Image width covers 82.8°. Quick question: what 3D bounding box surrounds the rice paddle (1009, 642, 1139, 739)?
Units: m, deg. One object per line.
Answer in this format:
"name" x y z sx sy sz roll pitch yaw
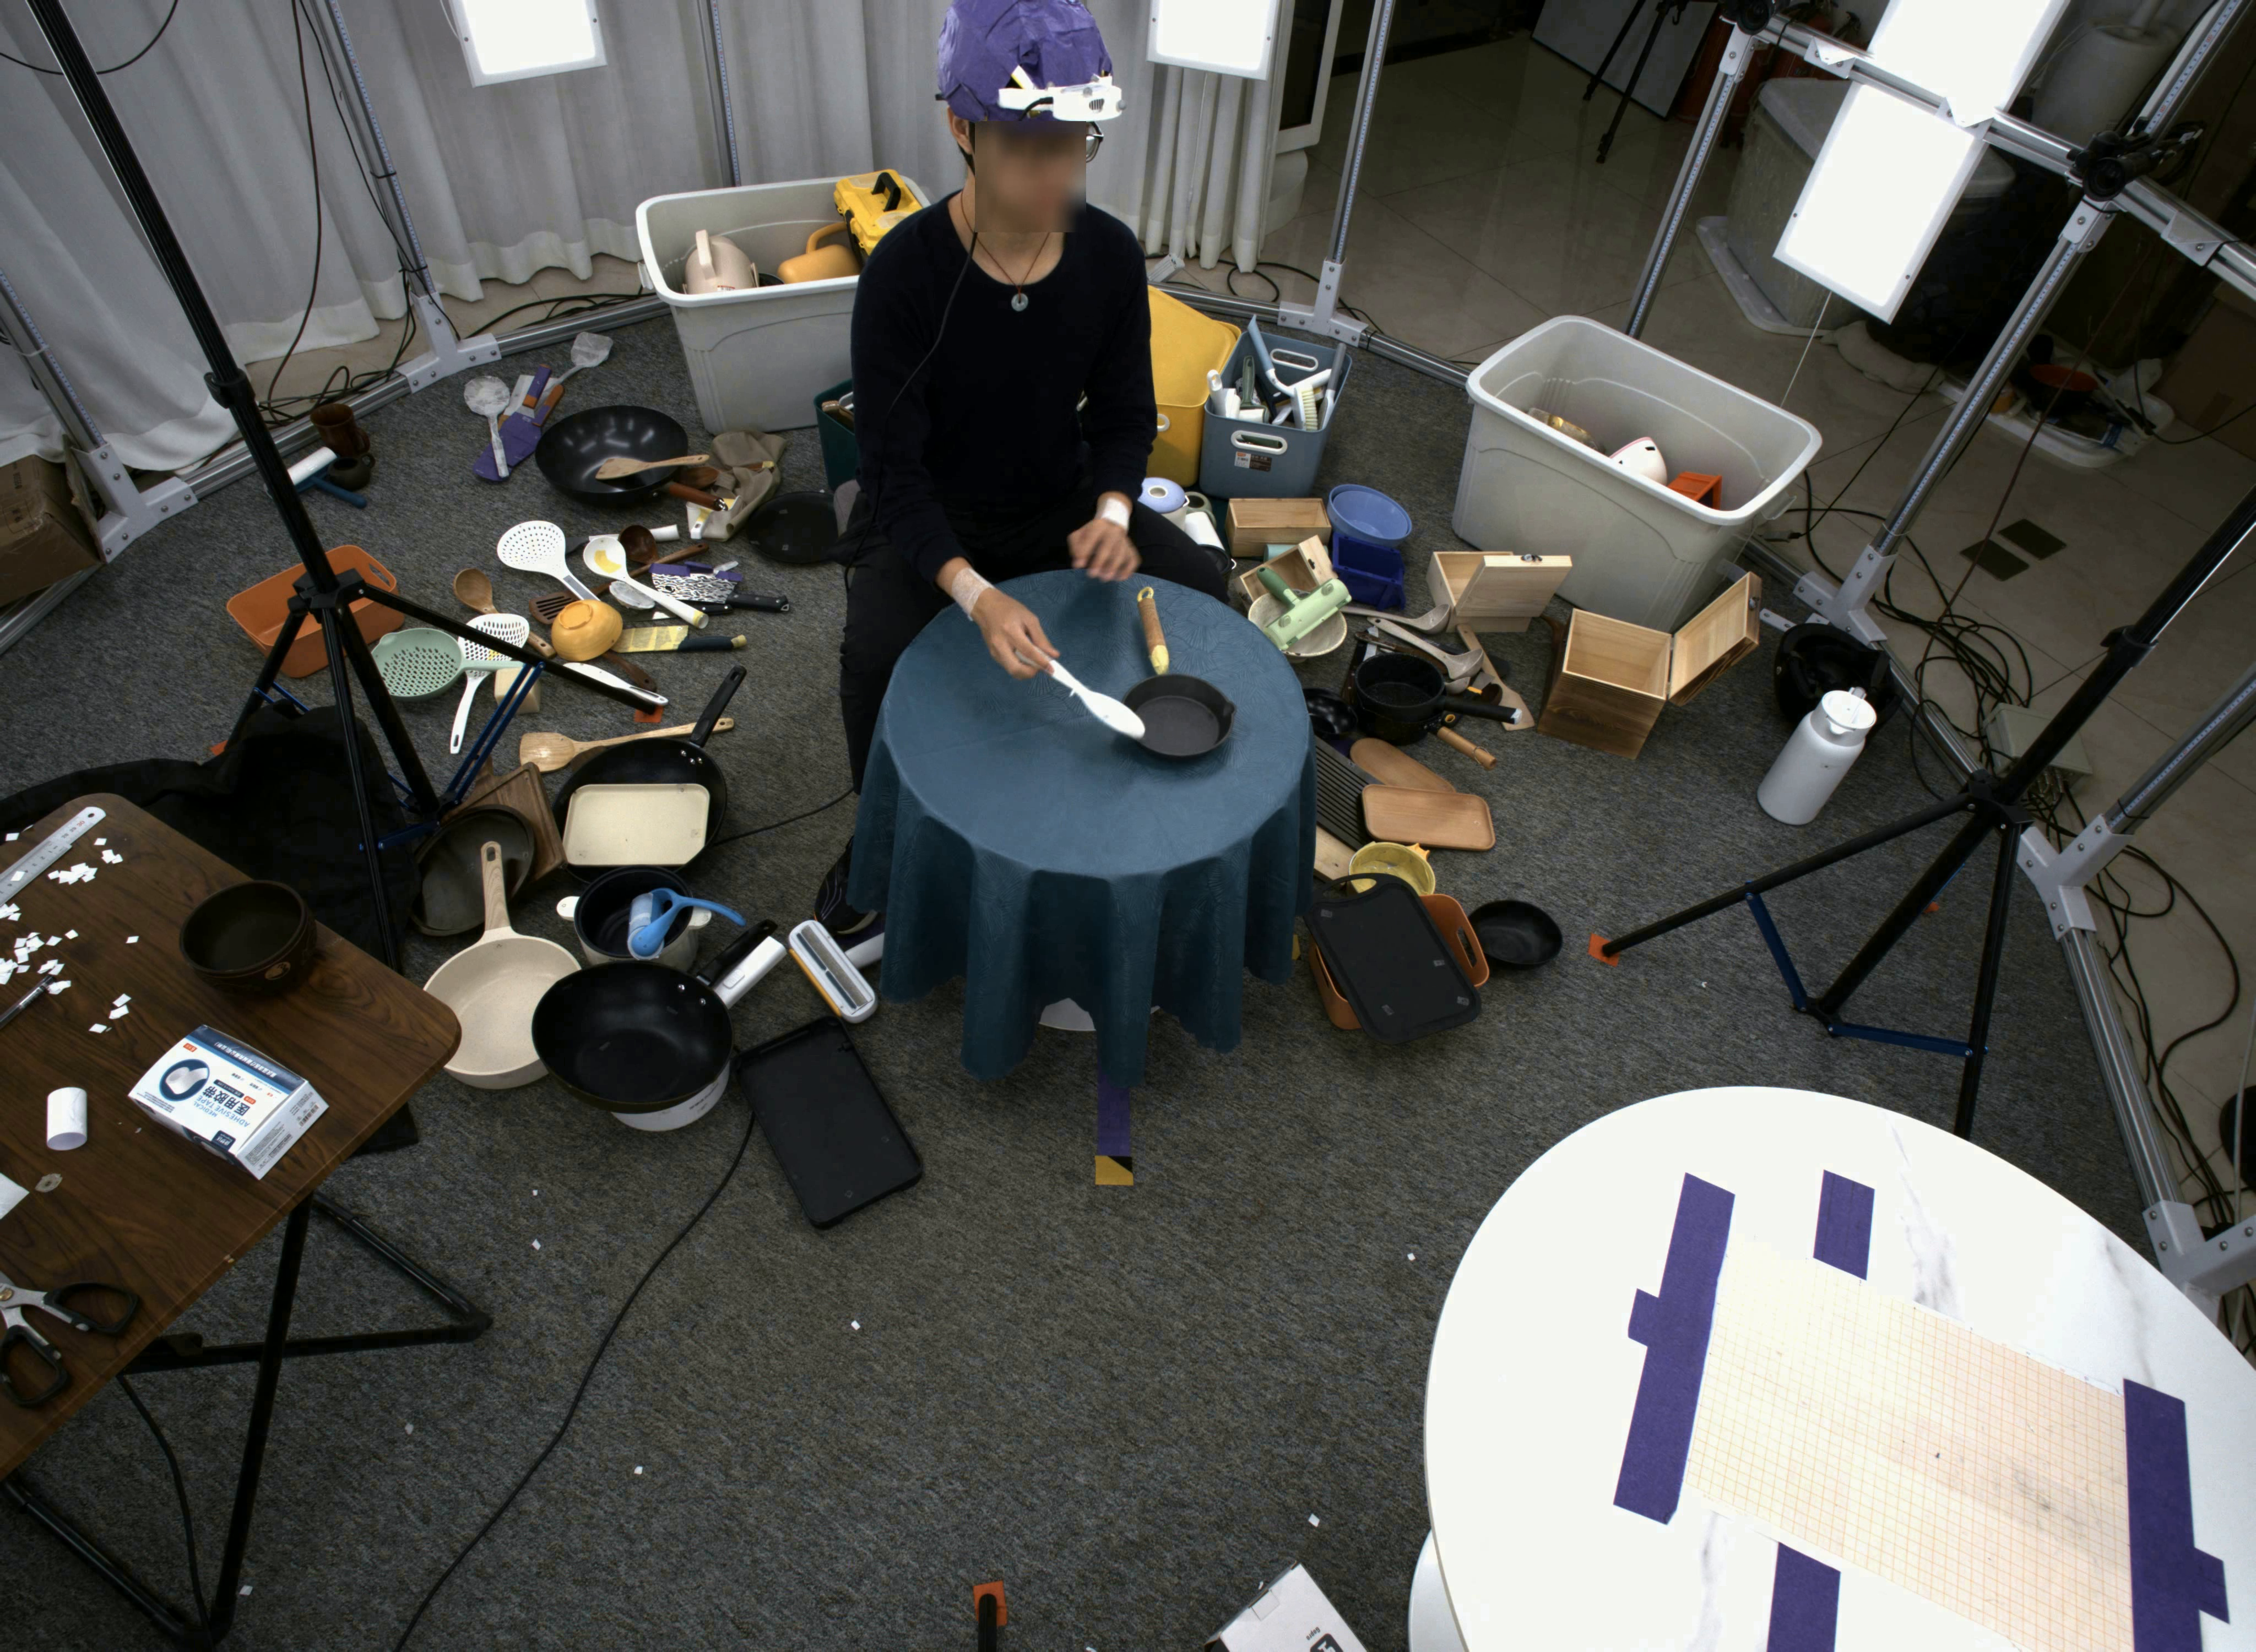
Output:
"rice paddle" -0.070 -0.181 1.724 0.206 0.029 0.069 35 39 10

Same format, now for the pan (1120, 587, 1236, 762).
"pan" 0.053 -0.217 1.828 0.169 0.048 0.332 -5 51 -8
